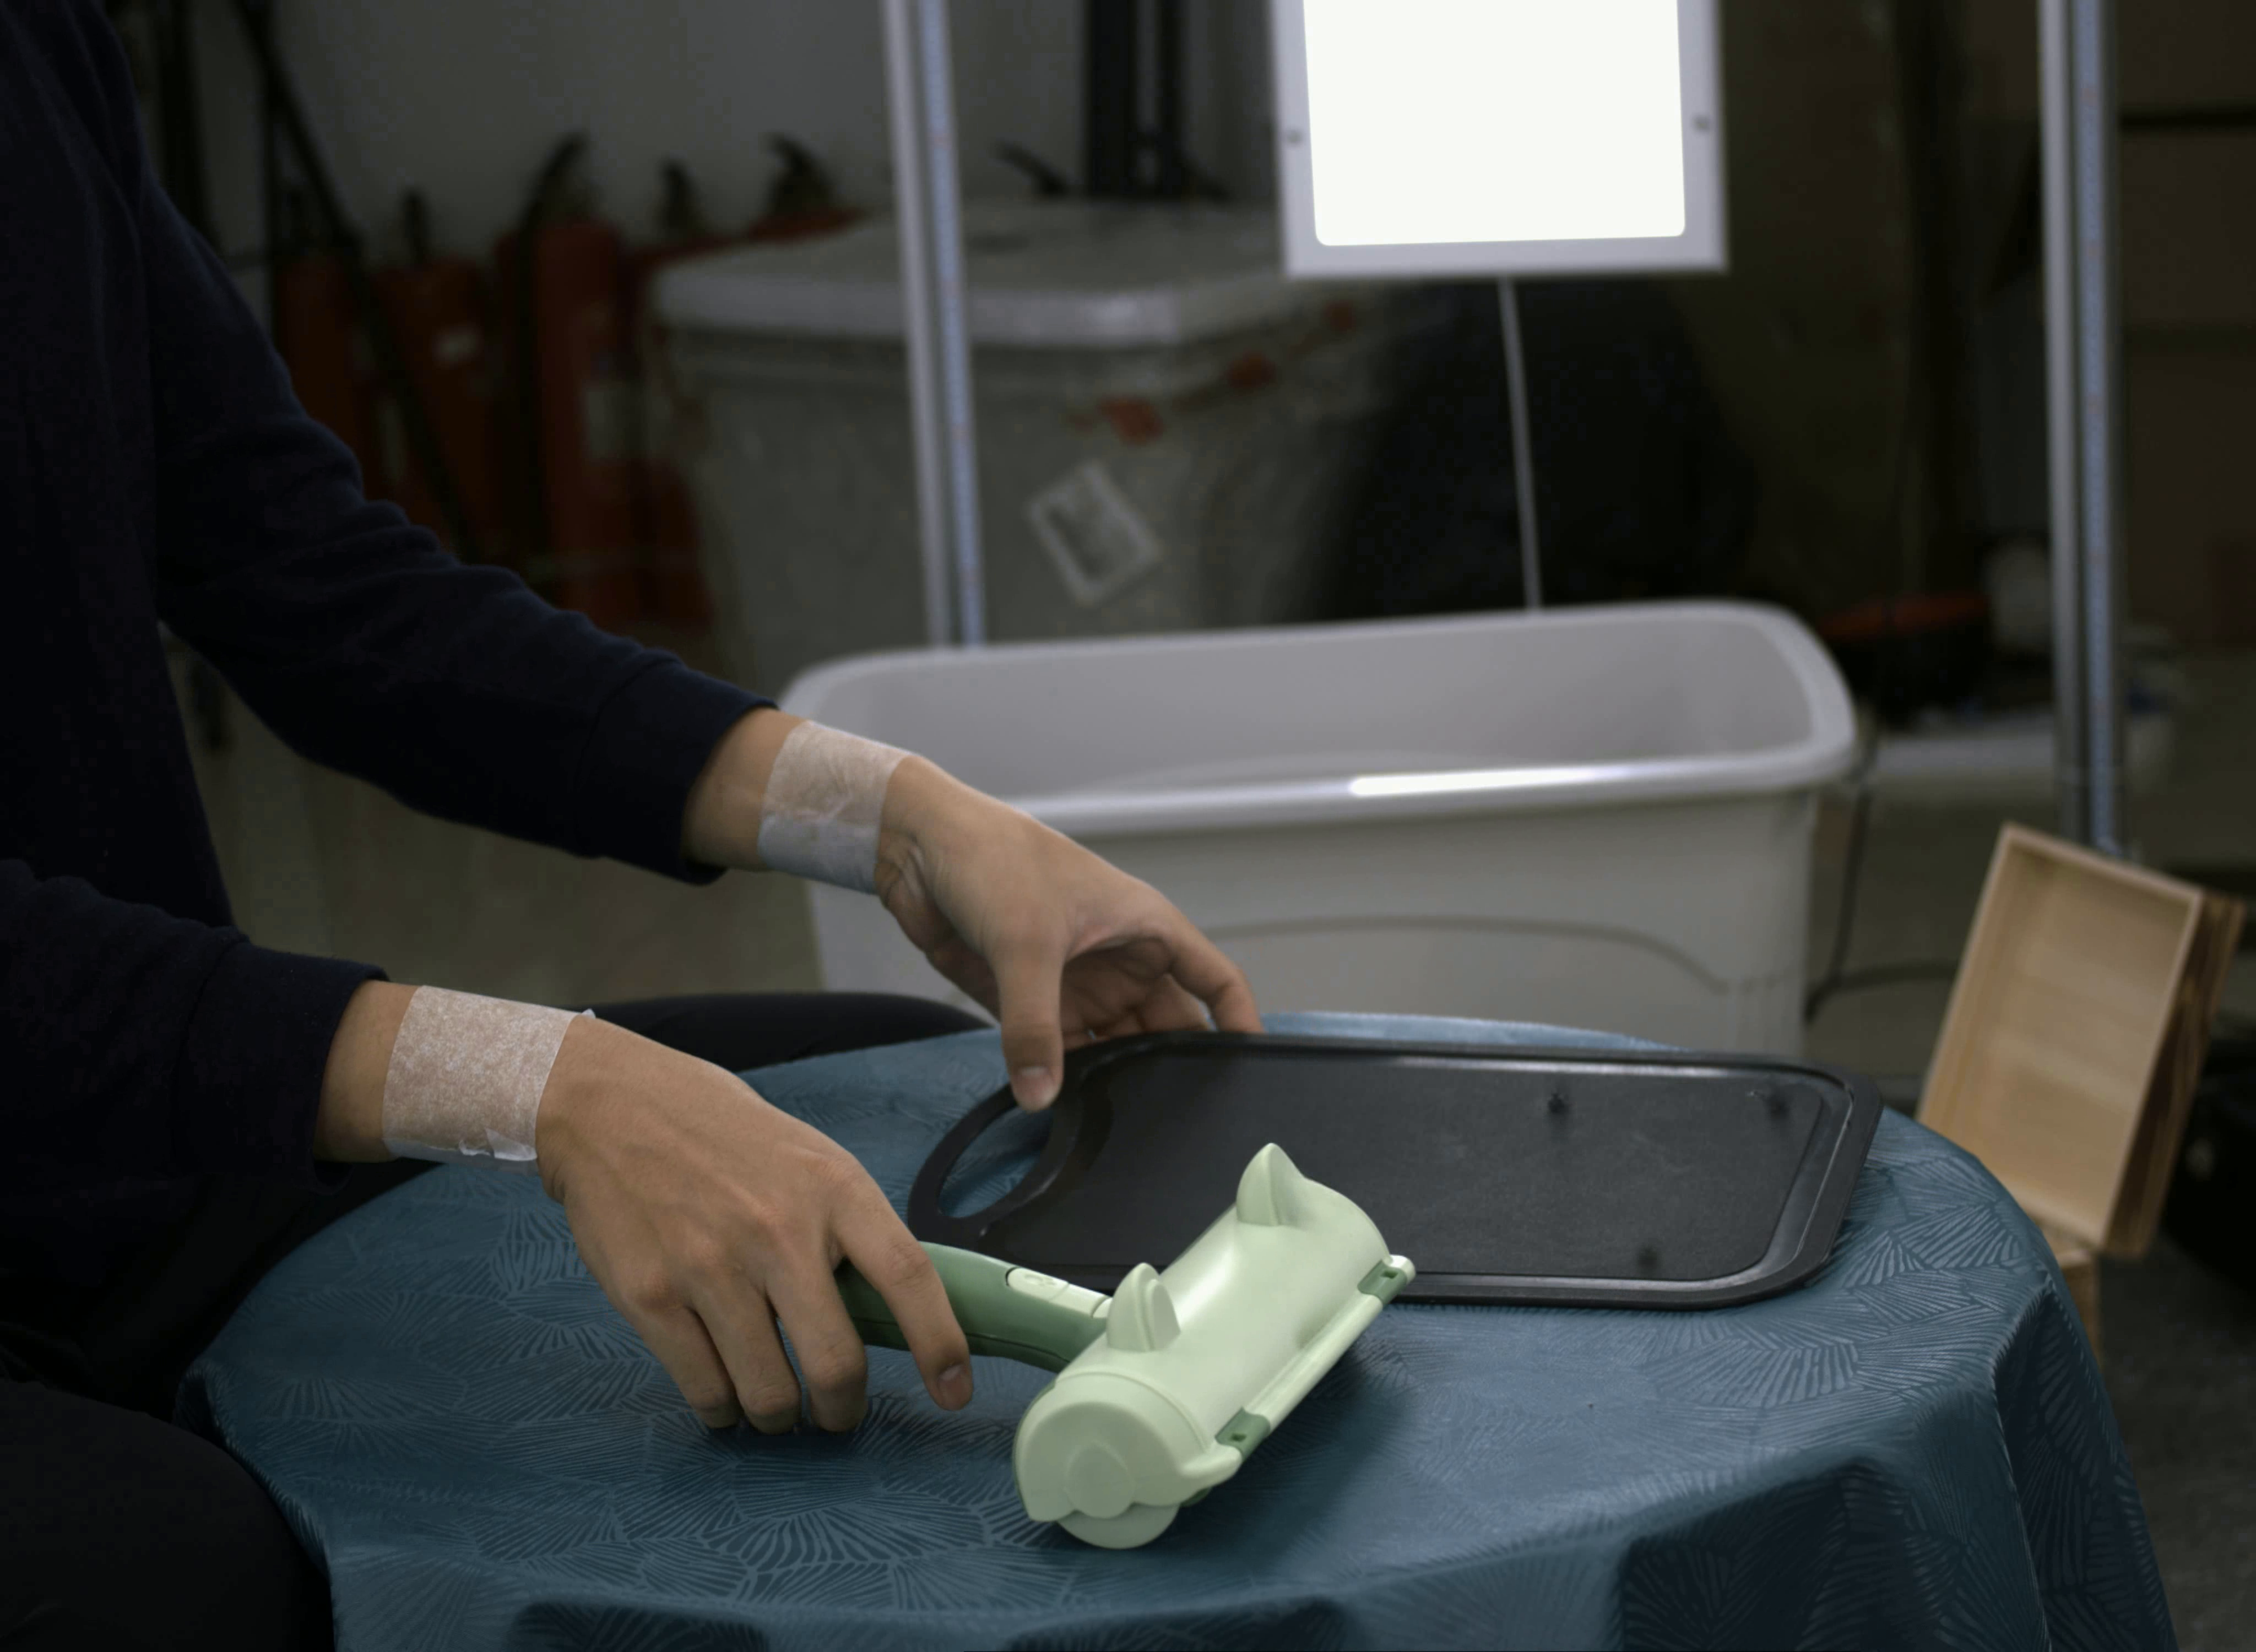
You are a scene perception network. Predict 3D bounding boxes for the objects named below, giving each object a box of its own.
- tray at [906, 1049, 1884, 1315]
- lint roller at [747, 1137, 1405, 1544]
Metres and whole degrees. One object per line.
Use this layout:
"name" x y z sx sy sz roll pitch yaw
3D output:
"tray" 0.086 0.116 1.860 0.329 0.010 0.208 0 20 19
"lint roller" -0.026 0.132 1.662 0.185 0.083 0.195 20 20 15
